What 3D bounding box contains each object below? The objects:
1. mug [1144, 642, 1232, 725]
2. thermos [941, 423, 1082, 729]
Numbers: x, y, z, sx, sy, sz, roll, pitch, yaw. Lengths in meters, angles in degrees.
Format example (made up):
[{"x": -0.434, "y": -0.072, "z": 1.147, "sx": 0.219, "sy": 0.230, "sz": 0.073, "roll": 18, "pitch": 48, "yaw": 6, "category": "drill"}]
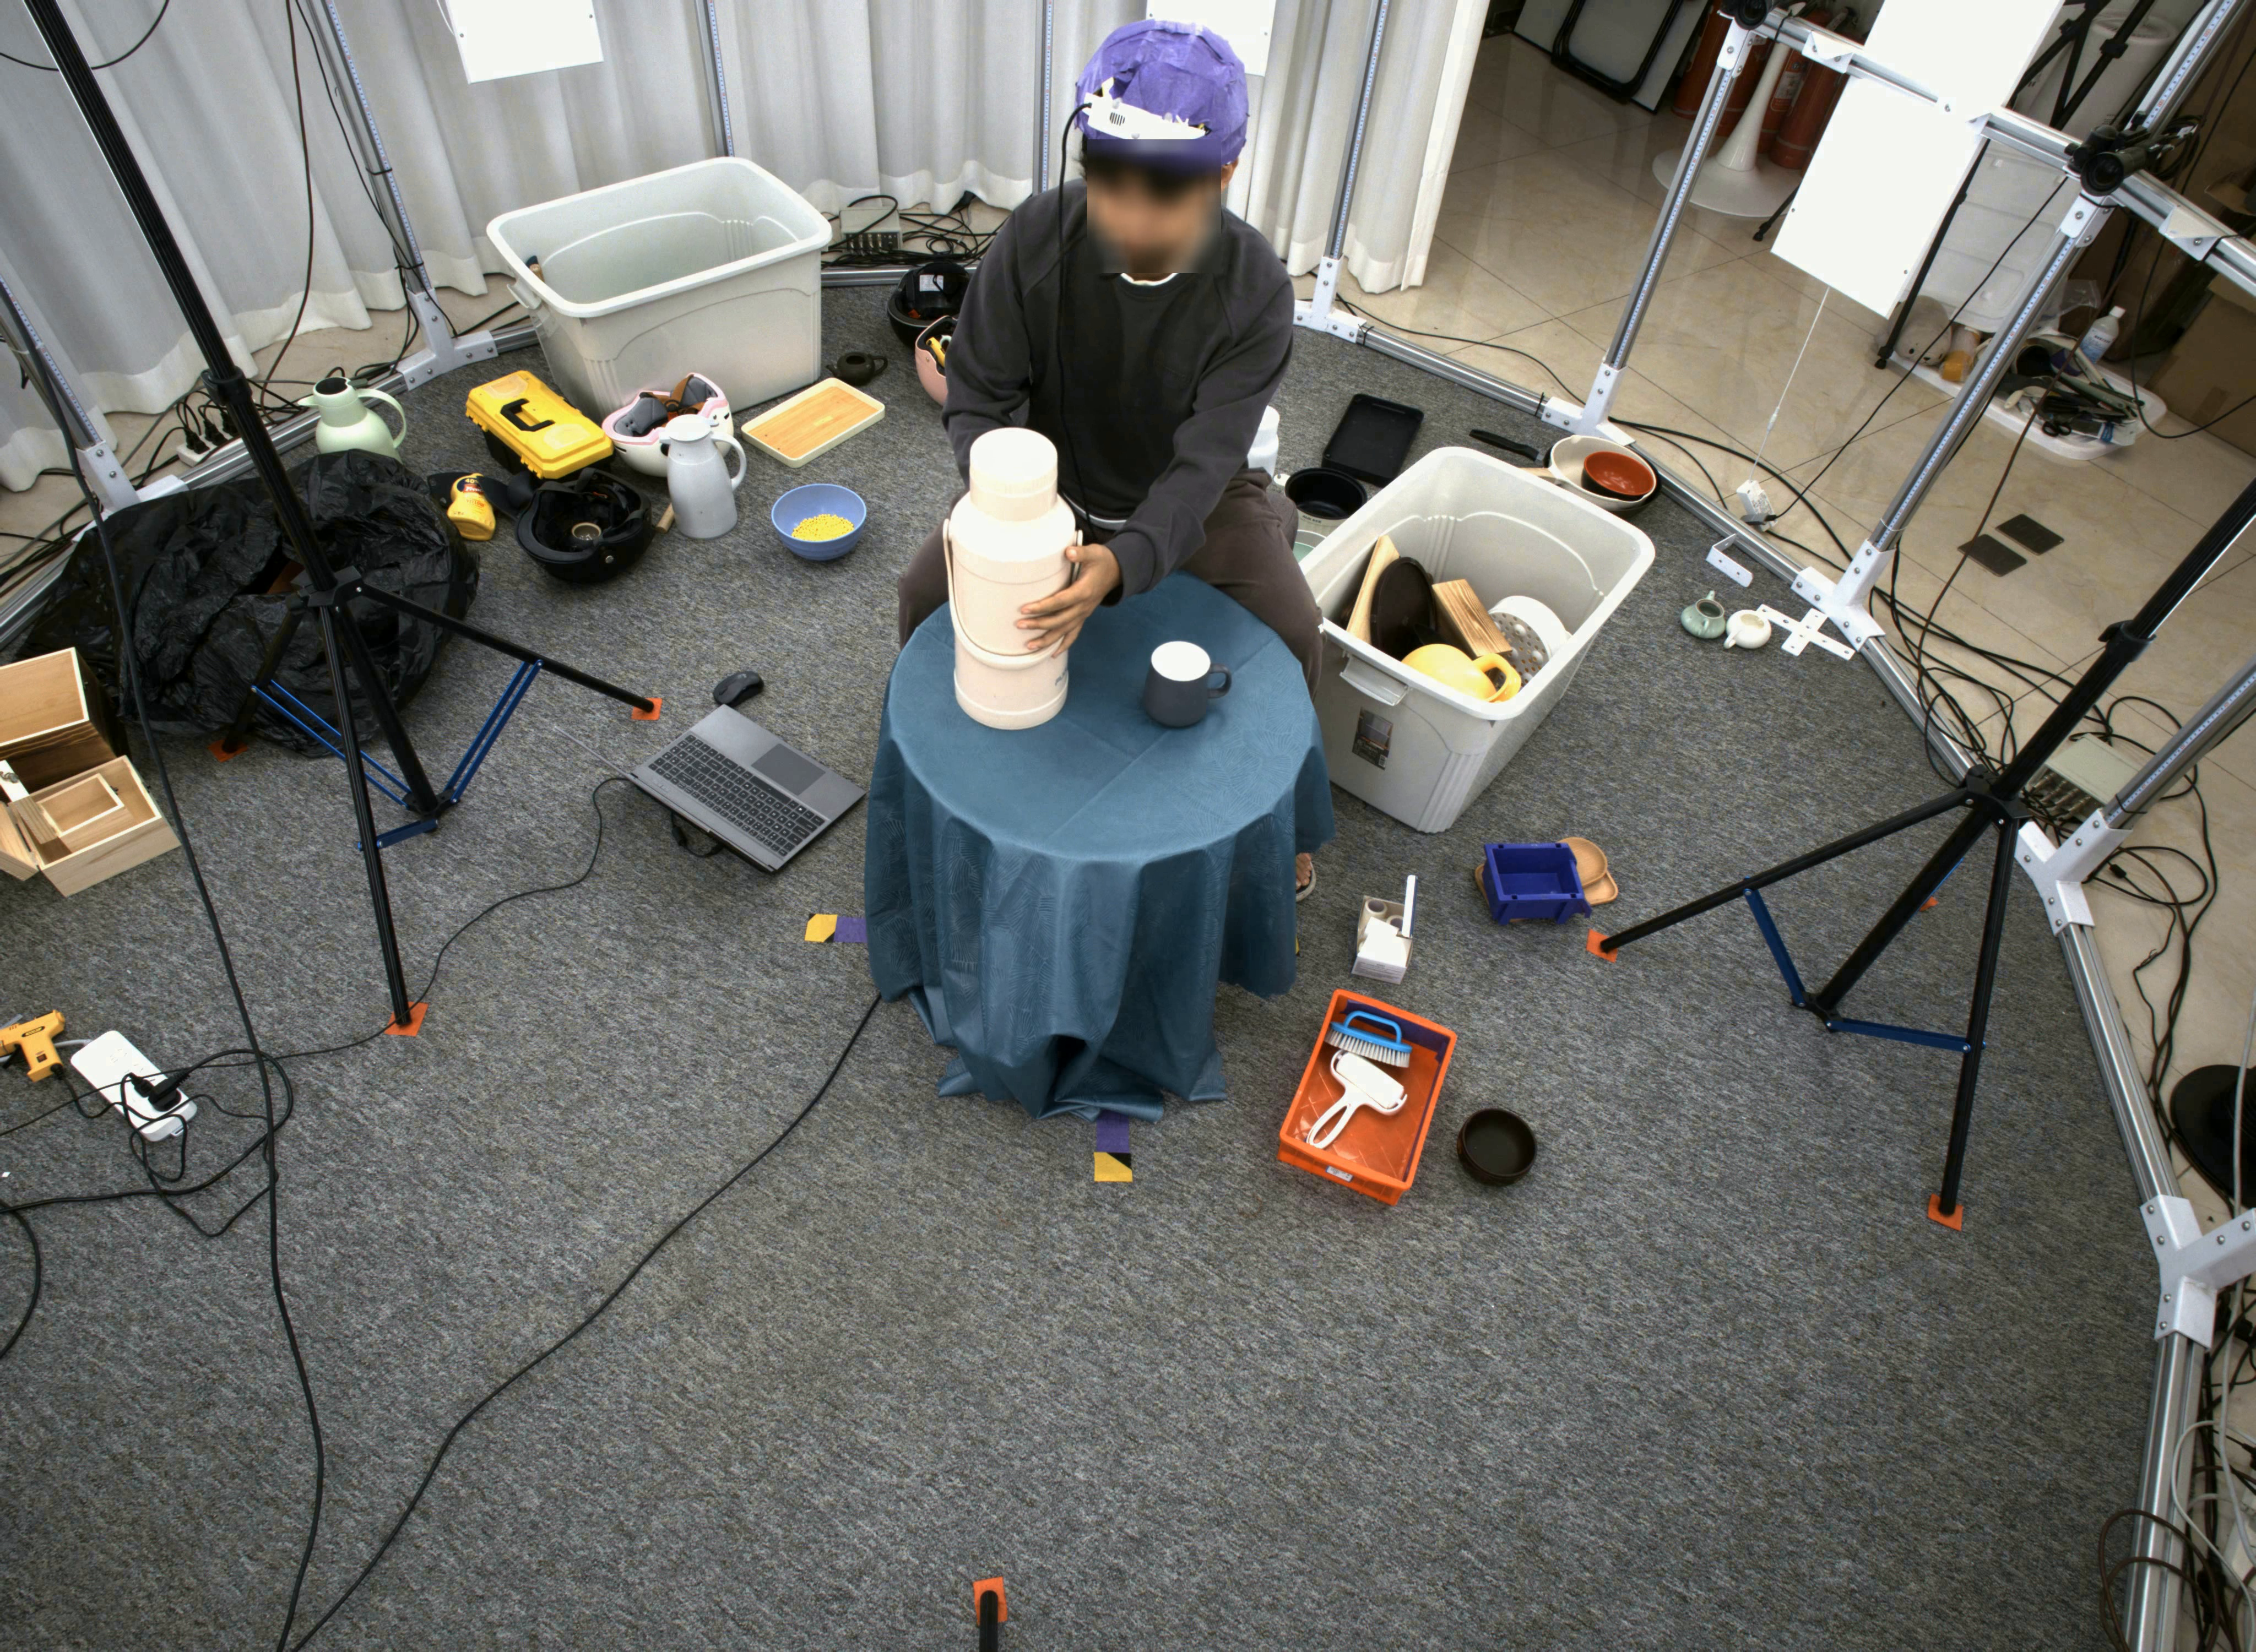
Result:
[{"x": 0.085, "y": -0.199, "z": 1.785, "sx": 0.123, "sy": 0.088, "sz": 0.096, "roll": -4, "pitch": 50, "yaw": -8, "category": "mug"}, {"x": -0.149, "y": -0.329, "z": 1.683, "sx": 0.175, "sy": 0.396, "sz": 0.212, "roll": 4, "pitch": 49, "yaw": -2, "category": "thermos"}]
